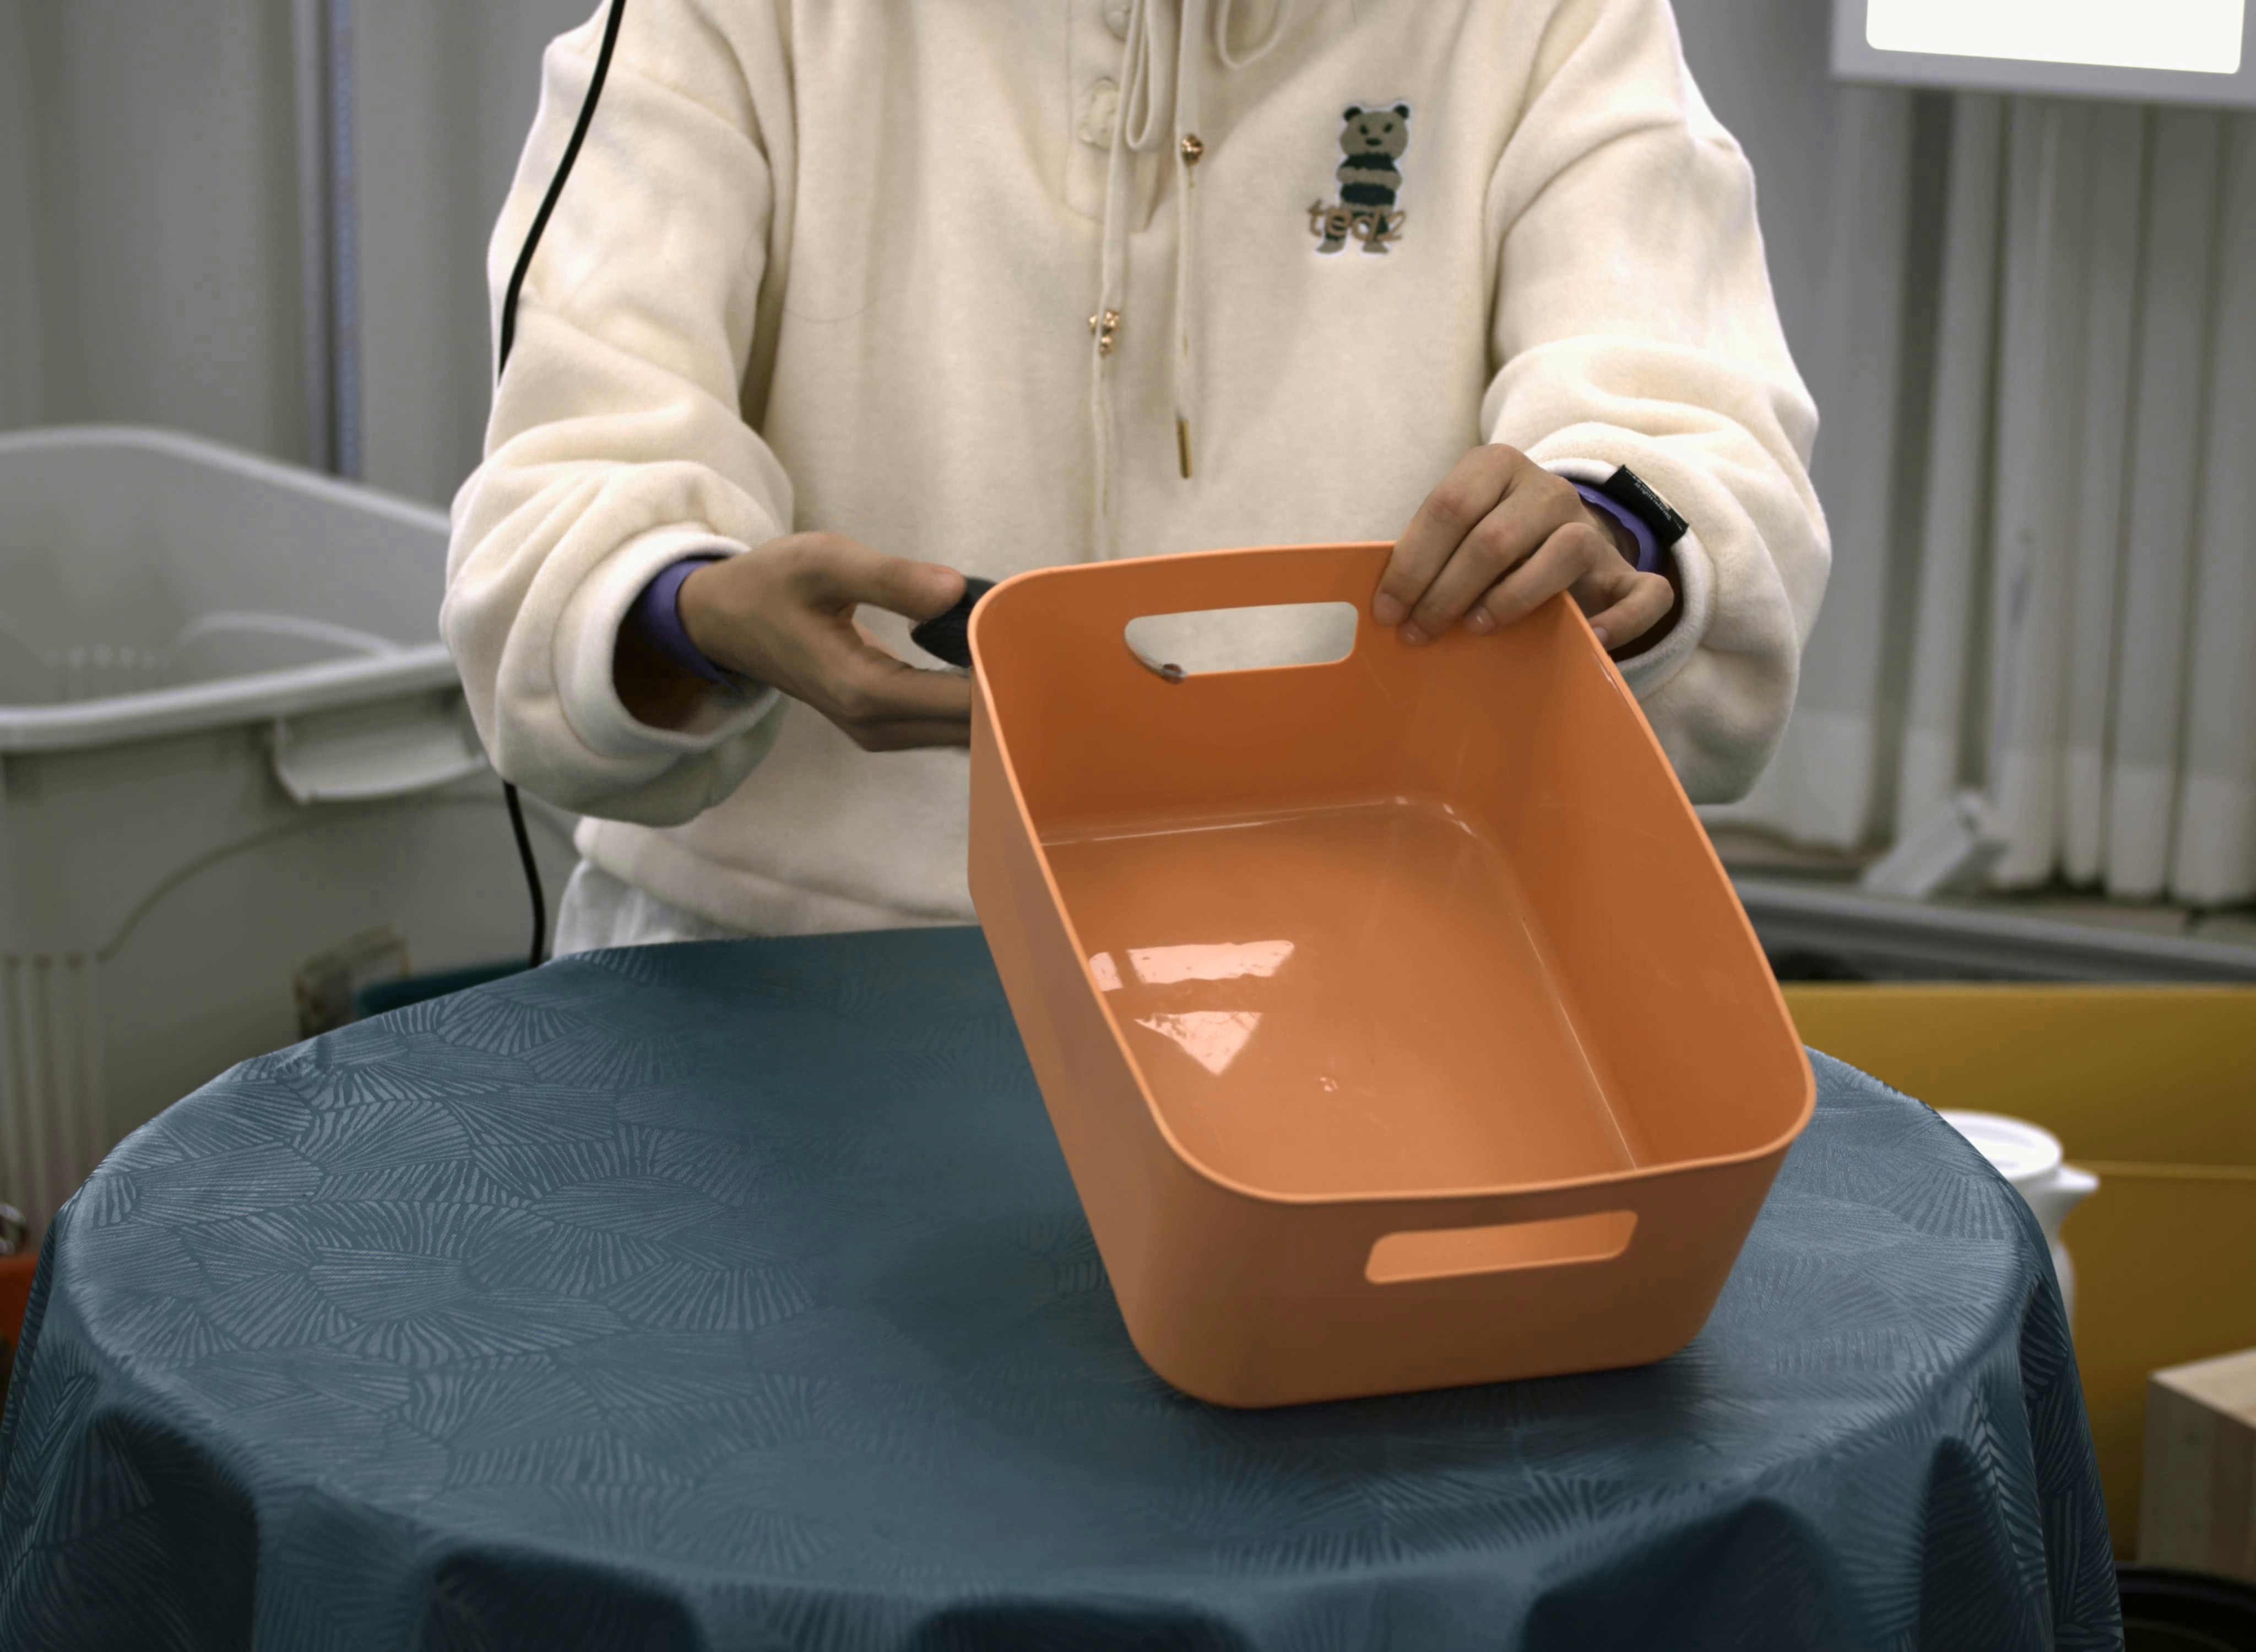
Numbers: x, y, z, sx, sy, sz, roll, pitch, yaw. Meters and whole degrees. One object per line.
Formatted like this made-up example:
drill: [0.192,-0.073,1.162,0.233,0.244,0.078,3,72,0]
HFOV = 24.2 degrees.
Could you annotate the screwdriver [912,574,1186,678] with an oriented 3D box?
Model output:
screwdriver: [-0.020,-0.059,1.654,0.031,0.031,0.194,-8,11,-27]

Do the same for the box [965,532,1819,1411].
box: [0.066,0.041,1.515,0.200,0.103,0.270,-6,44,-17]
